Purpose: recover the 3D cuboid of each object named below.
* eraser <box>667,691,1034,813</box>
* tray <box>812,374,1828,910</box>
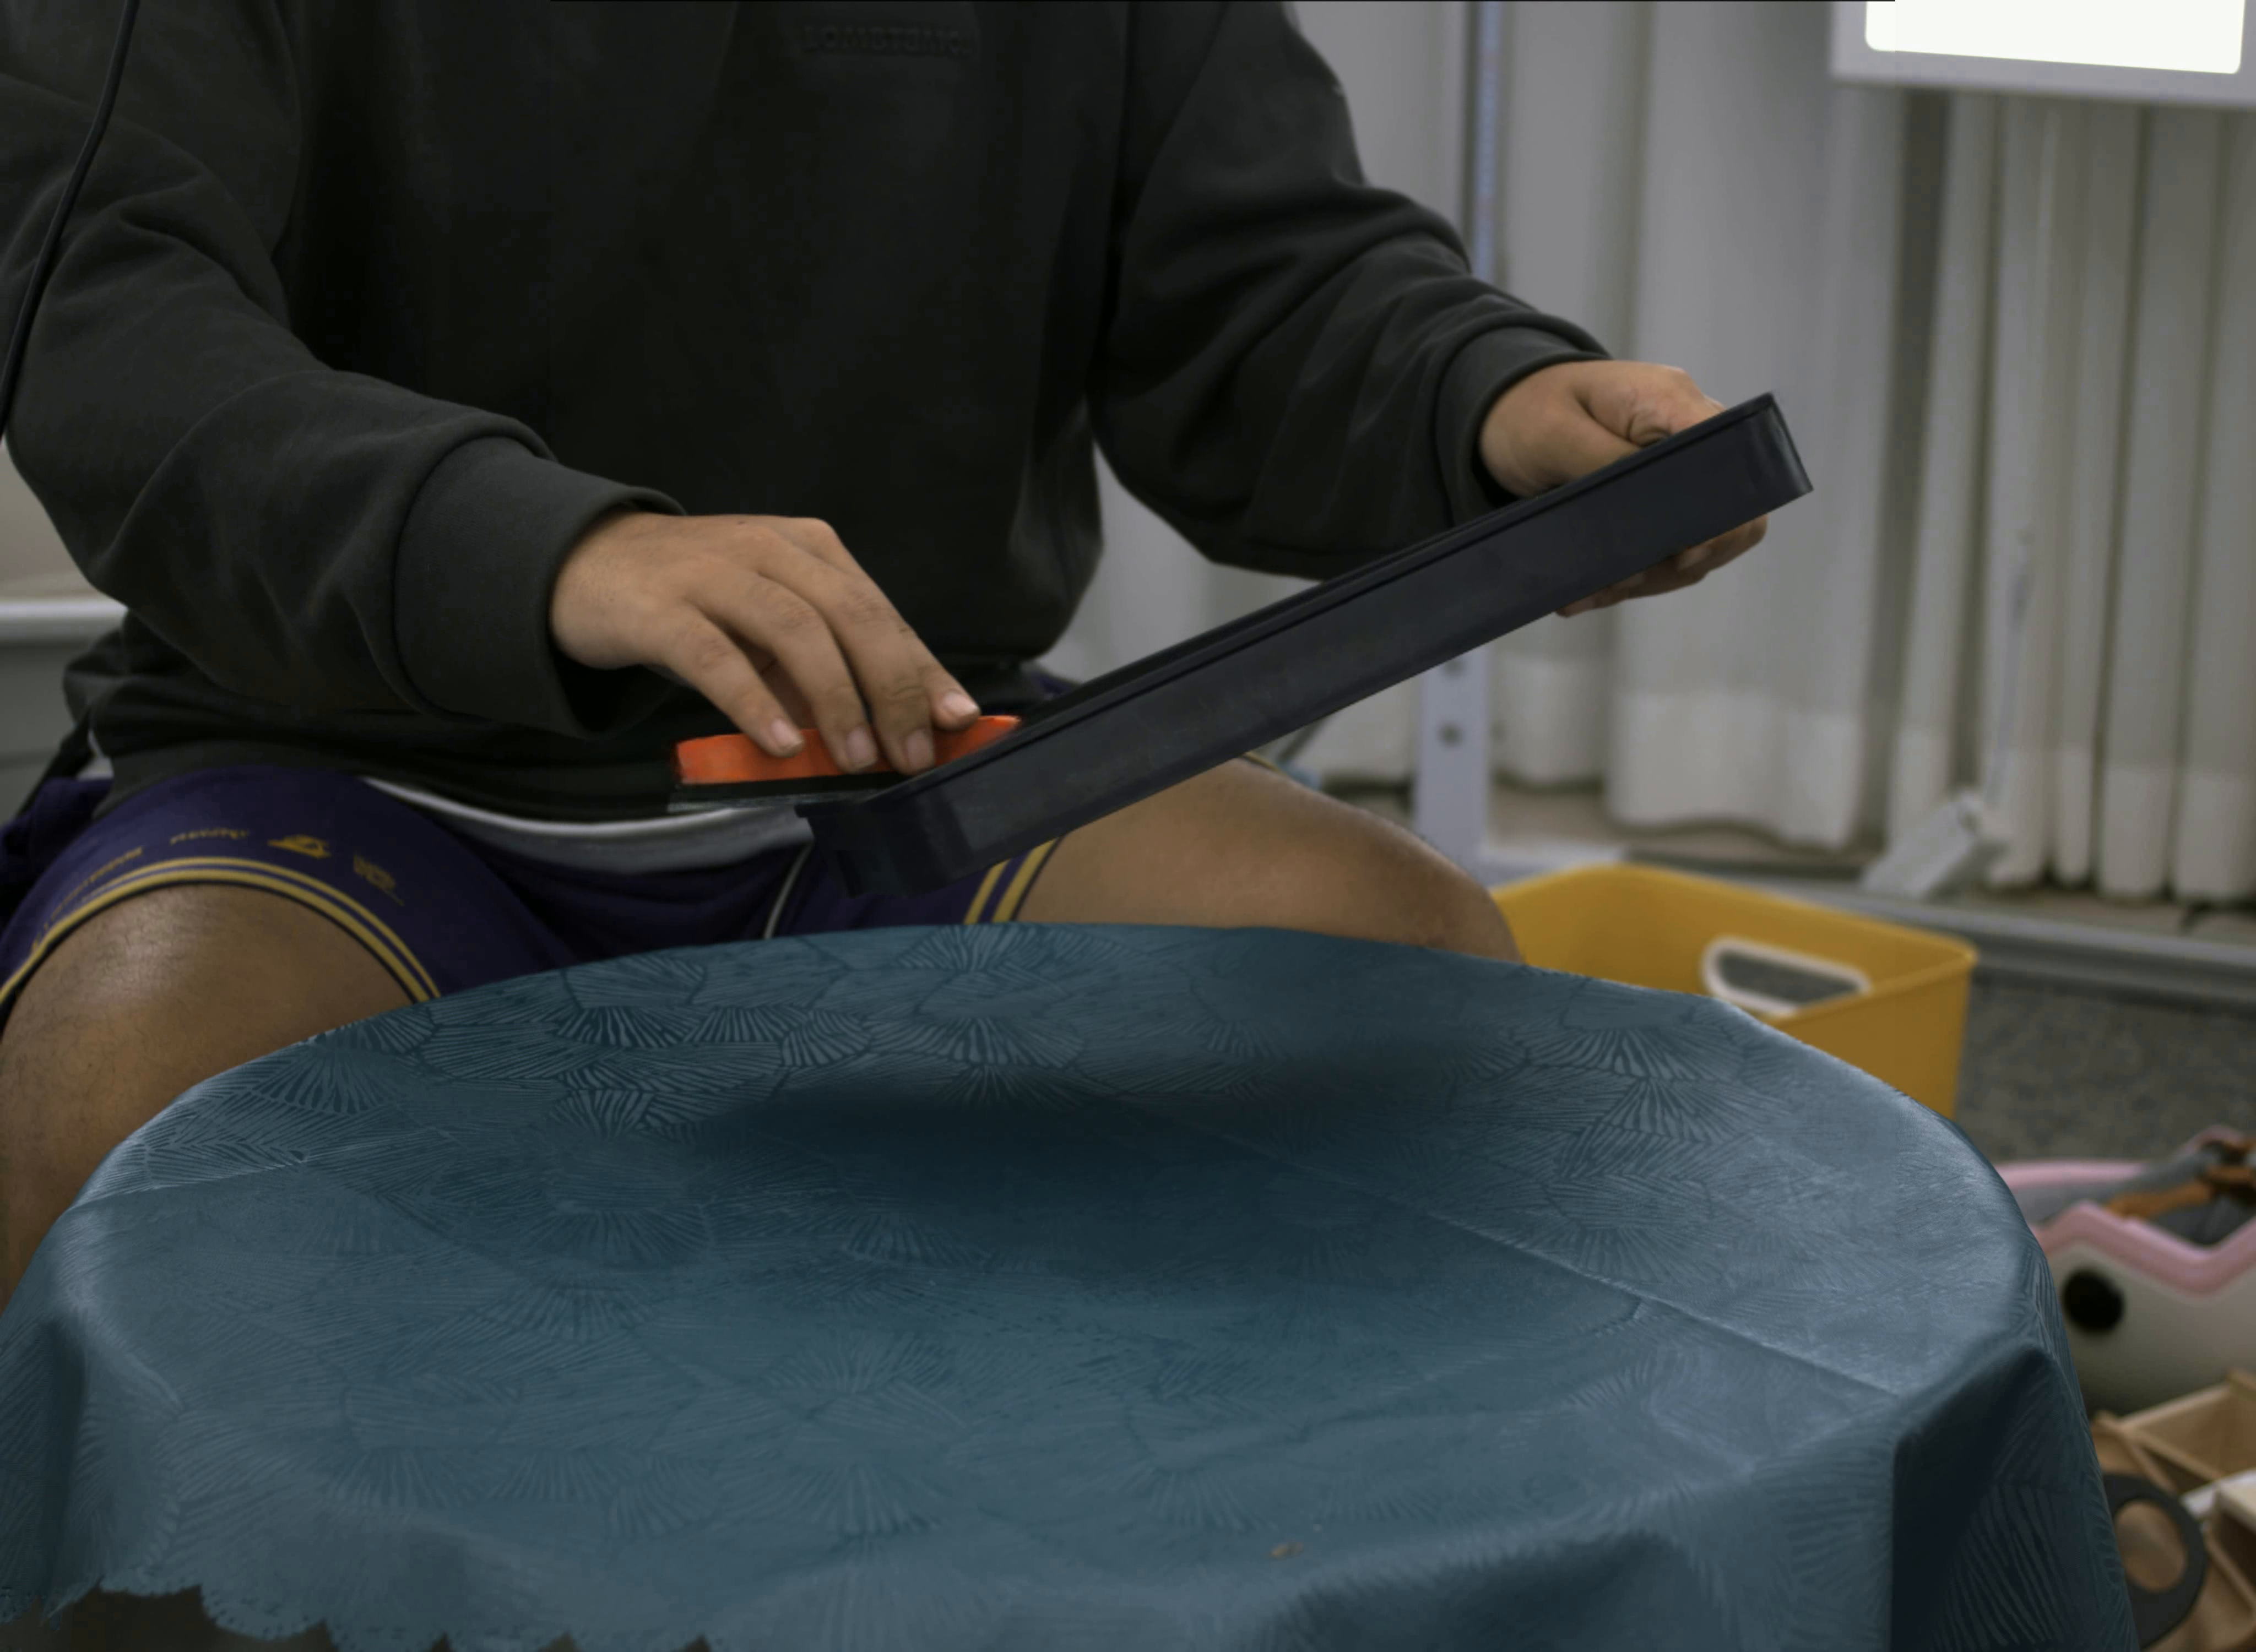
[{"bbox_3d":[-0.086,-0.023,1.642,0.108,0.023,0.058,-6,-8,-27],"label":"eraser"},{"bbox_3d":[0.059,-0.056,1.672,0.318,0.037,0.184,-25,2,-13],"label":"tray"}]
